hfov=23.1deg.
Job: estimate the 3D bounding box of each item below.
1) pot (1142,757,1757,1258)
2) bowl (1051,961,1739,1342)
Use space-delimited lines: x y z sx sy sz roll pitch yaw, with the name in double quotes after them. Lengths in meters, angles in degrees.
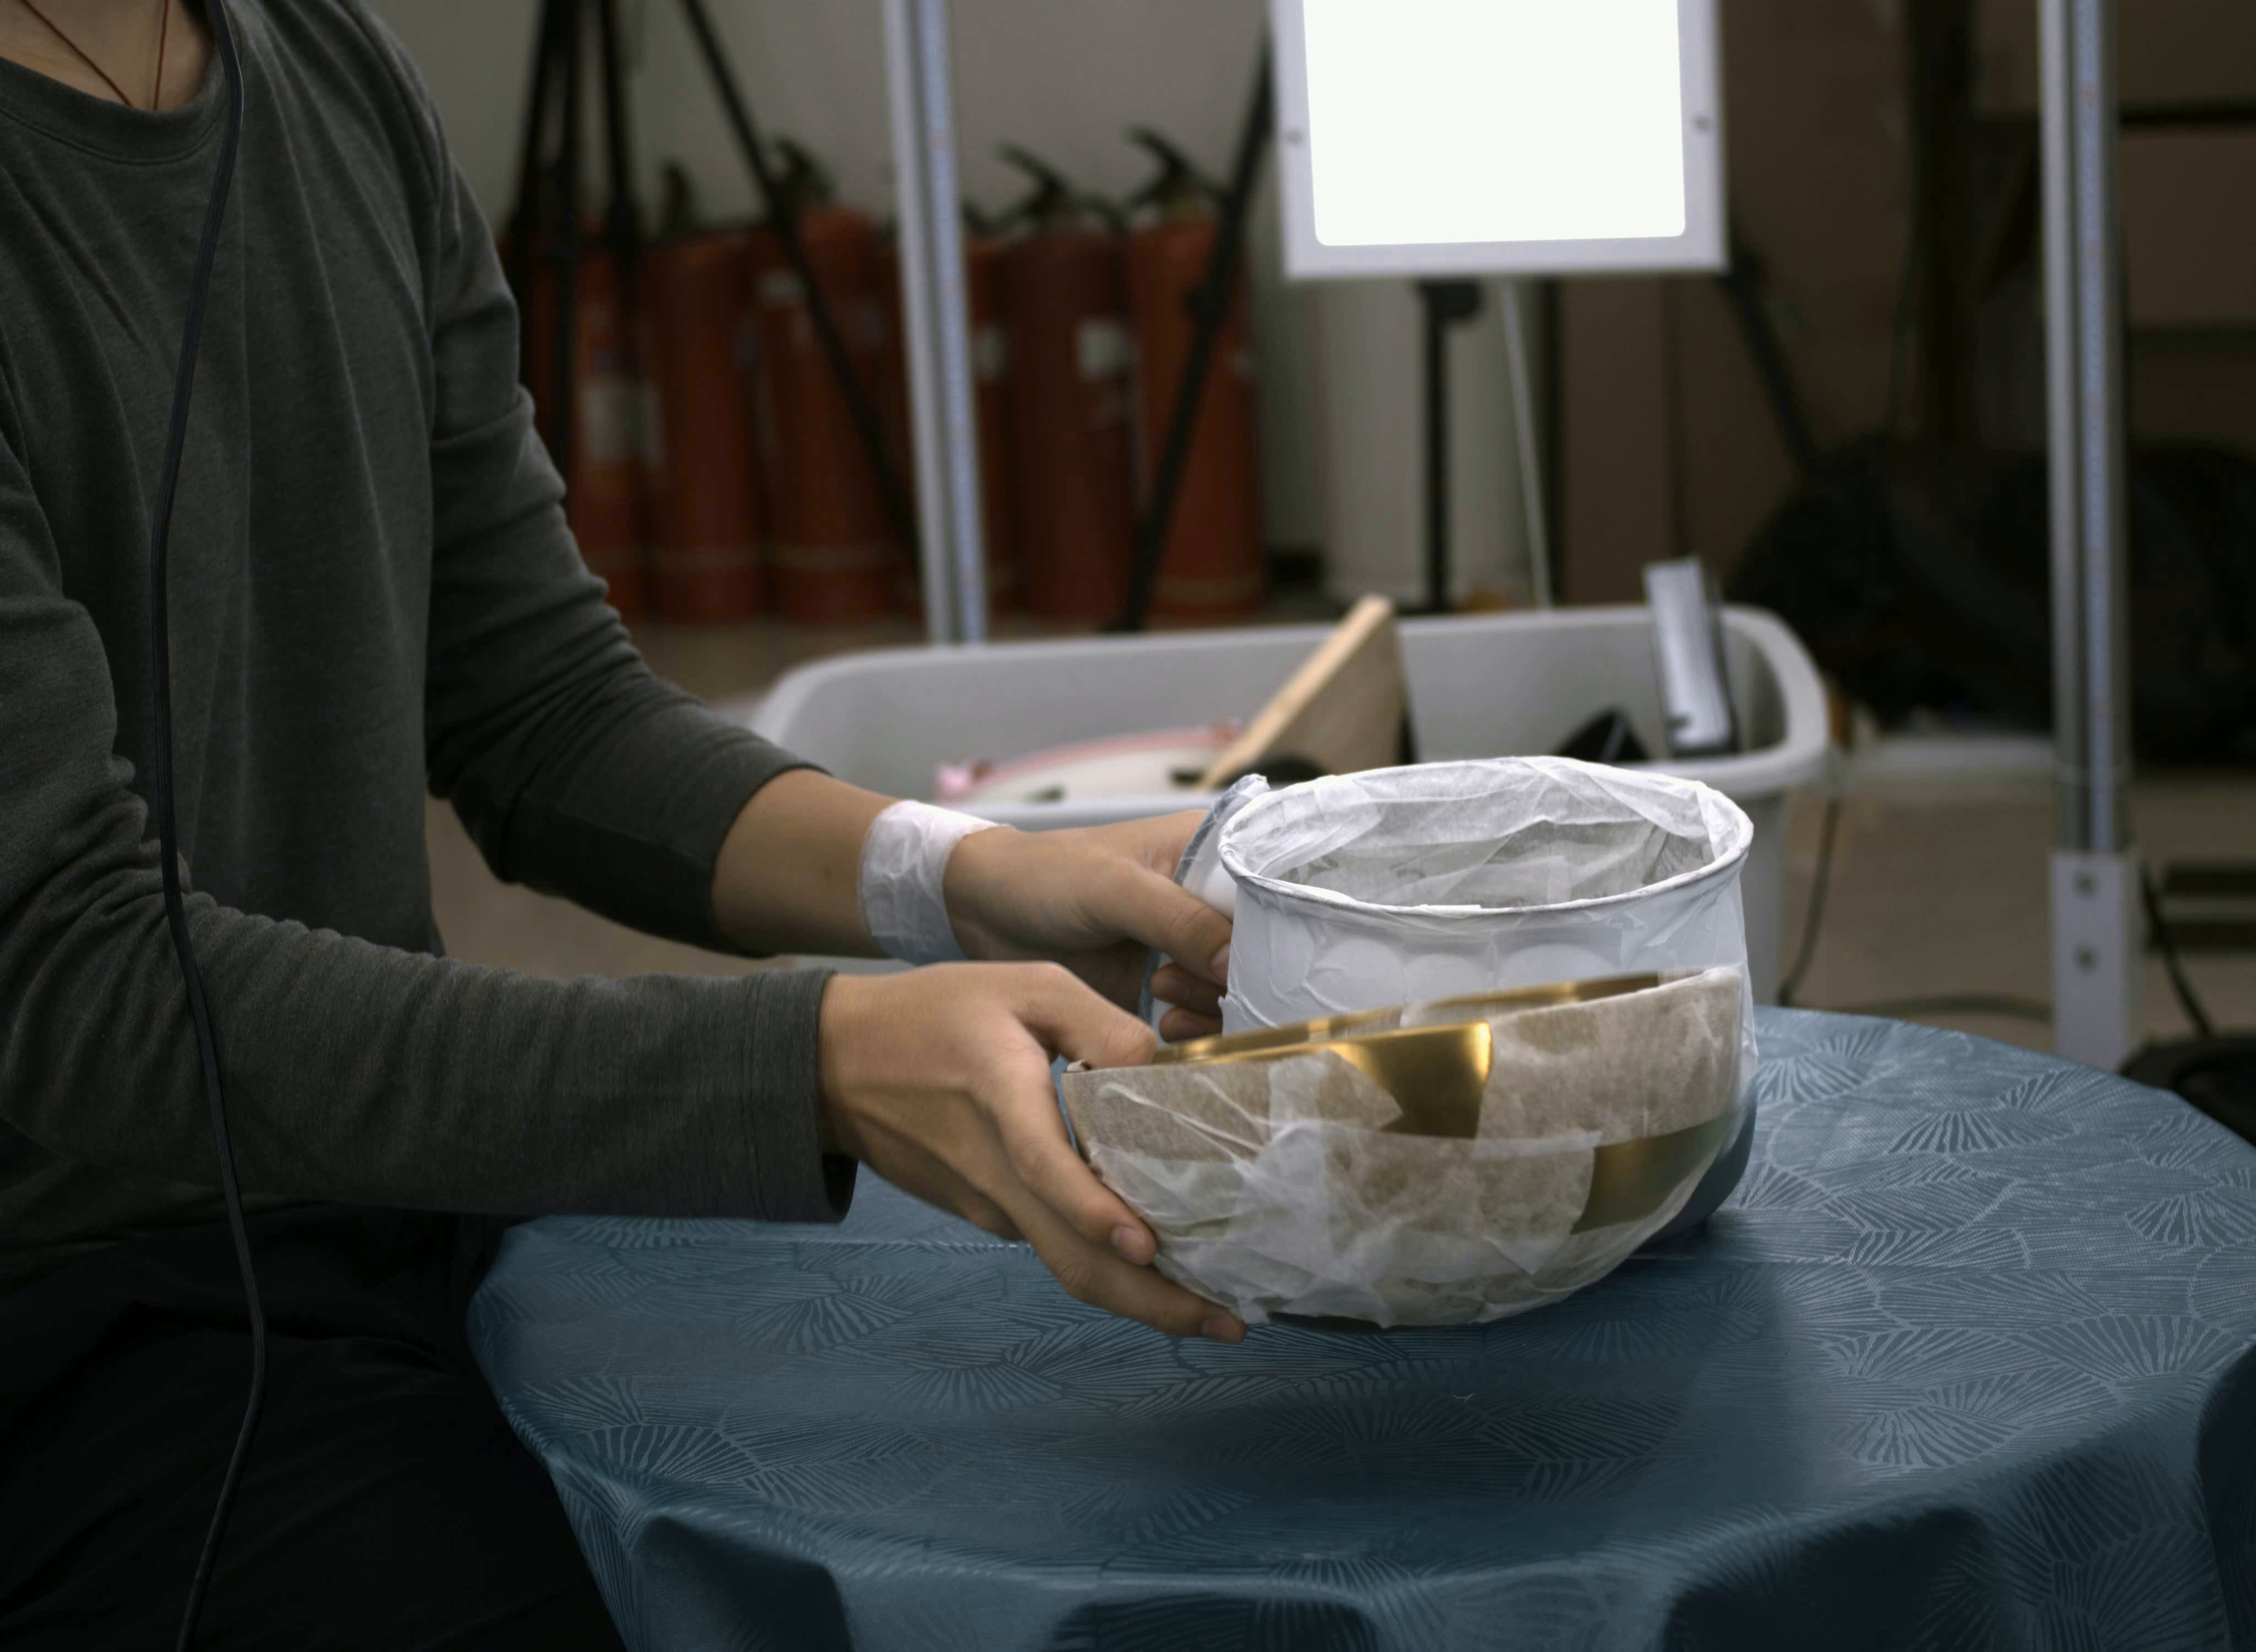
0.099 0.058 1.839 0.238 0.137 0.174 10 20 40 "pot"
0.082 0.101 1.620 0.214 0.095 0.215 -9 -2 -2 "bowl"
